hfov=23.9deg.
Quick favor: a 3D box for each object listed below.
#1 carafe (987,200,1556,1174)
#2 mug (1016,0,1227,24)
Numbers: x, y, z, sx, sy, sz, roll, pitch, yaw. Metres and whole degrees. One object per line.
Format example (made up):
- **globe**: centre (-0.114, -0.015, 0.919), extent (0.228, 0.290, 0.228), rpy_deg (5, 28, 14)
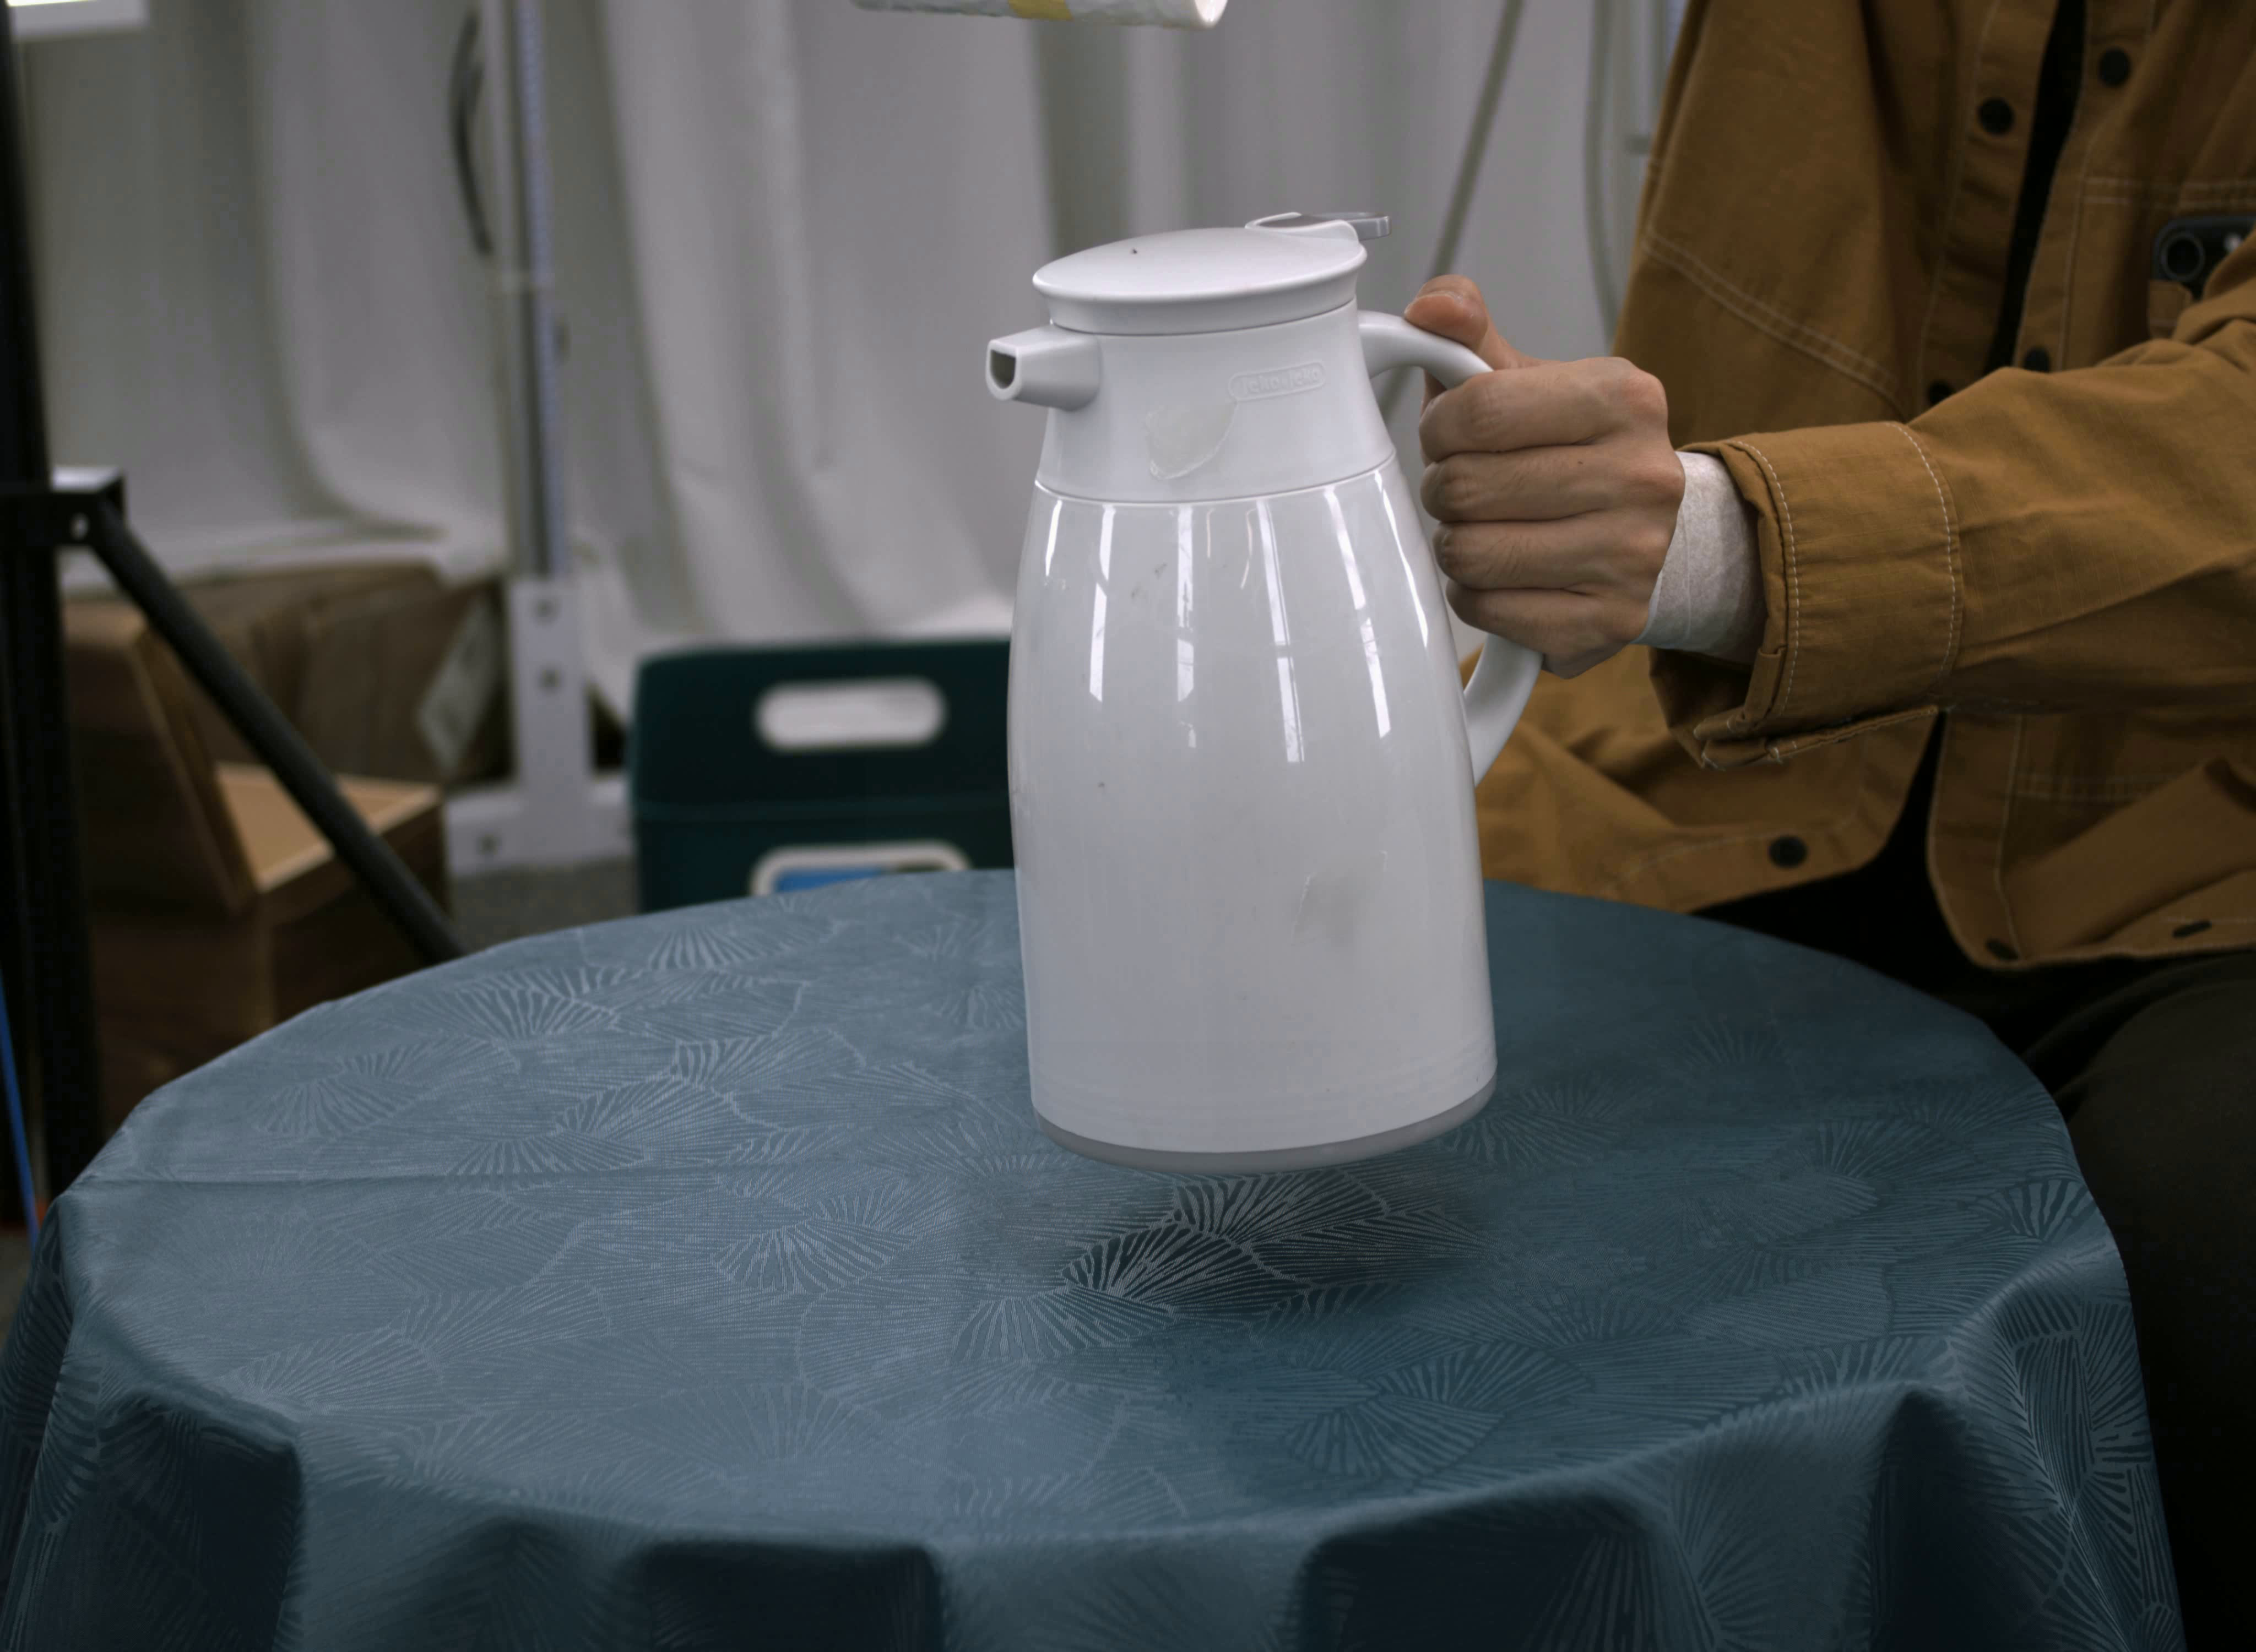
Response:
- **carafe**: centre (0.045, -0.046, 1.477), extent (0.164, 0.248, 0.135), rpy_deg (-12, 15, -26)
- **mug**: centre (-0.018, -0.272, 1.450), extent (0.102, 0.084, 0.118), rpy_deg (8, 36, 11)
